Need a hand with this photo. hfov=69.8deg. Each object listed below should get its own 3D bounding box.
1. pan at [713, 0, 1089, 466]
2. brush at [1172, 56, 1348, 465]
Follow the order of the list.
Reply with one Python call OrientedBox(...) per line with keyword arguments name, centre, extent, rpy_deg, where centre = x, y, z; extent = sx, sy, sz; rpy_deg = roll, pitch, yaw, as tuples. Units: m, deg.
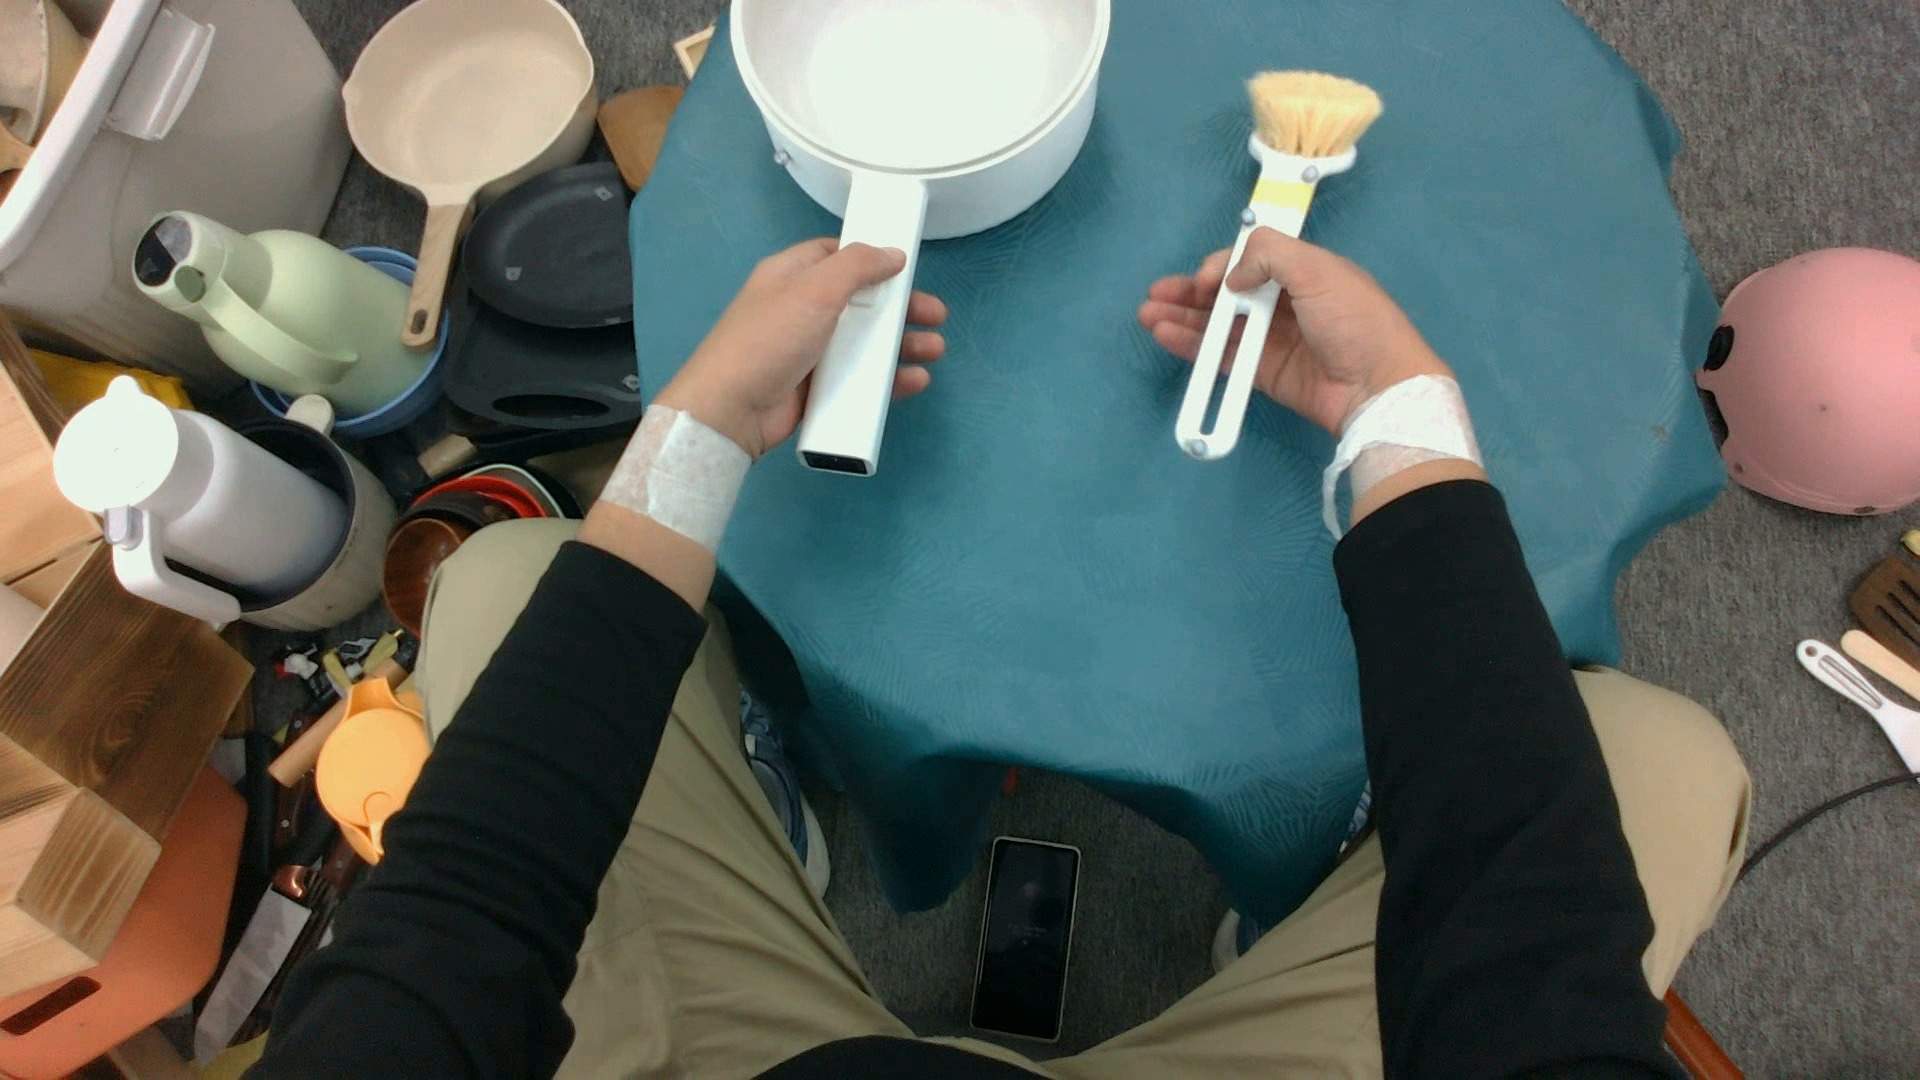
OrientedBox(name="pan", centre=(-0.043, -0.203, 0.756), extent=(0.201, 0.102, 0.355), rpy_deg=(8, 76, 3))
OrientedBox(name="brush", centre=(0.152, -0.160, 0.719), extent=(0.068, 0.056, 0.268), rpy_deg=(9, 59, 18))
